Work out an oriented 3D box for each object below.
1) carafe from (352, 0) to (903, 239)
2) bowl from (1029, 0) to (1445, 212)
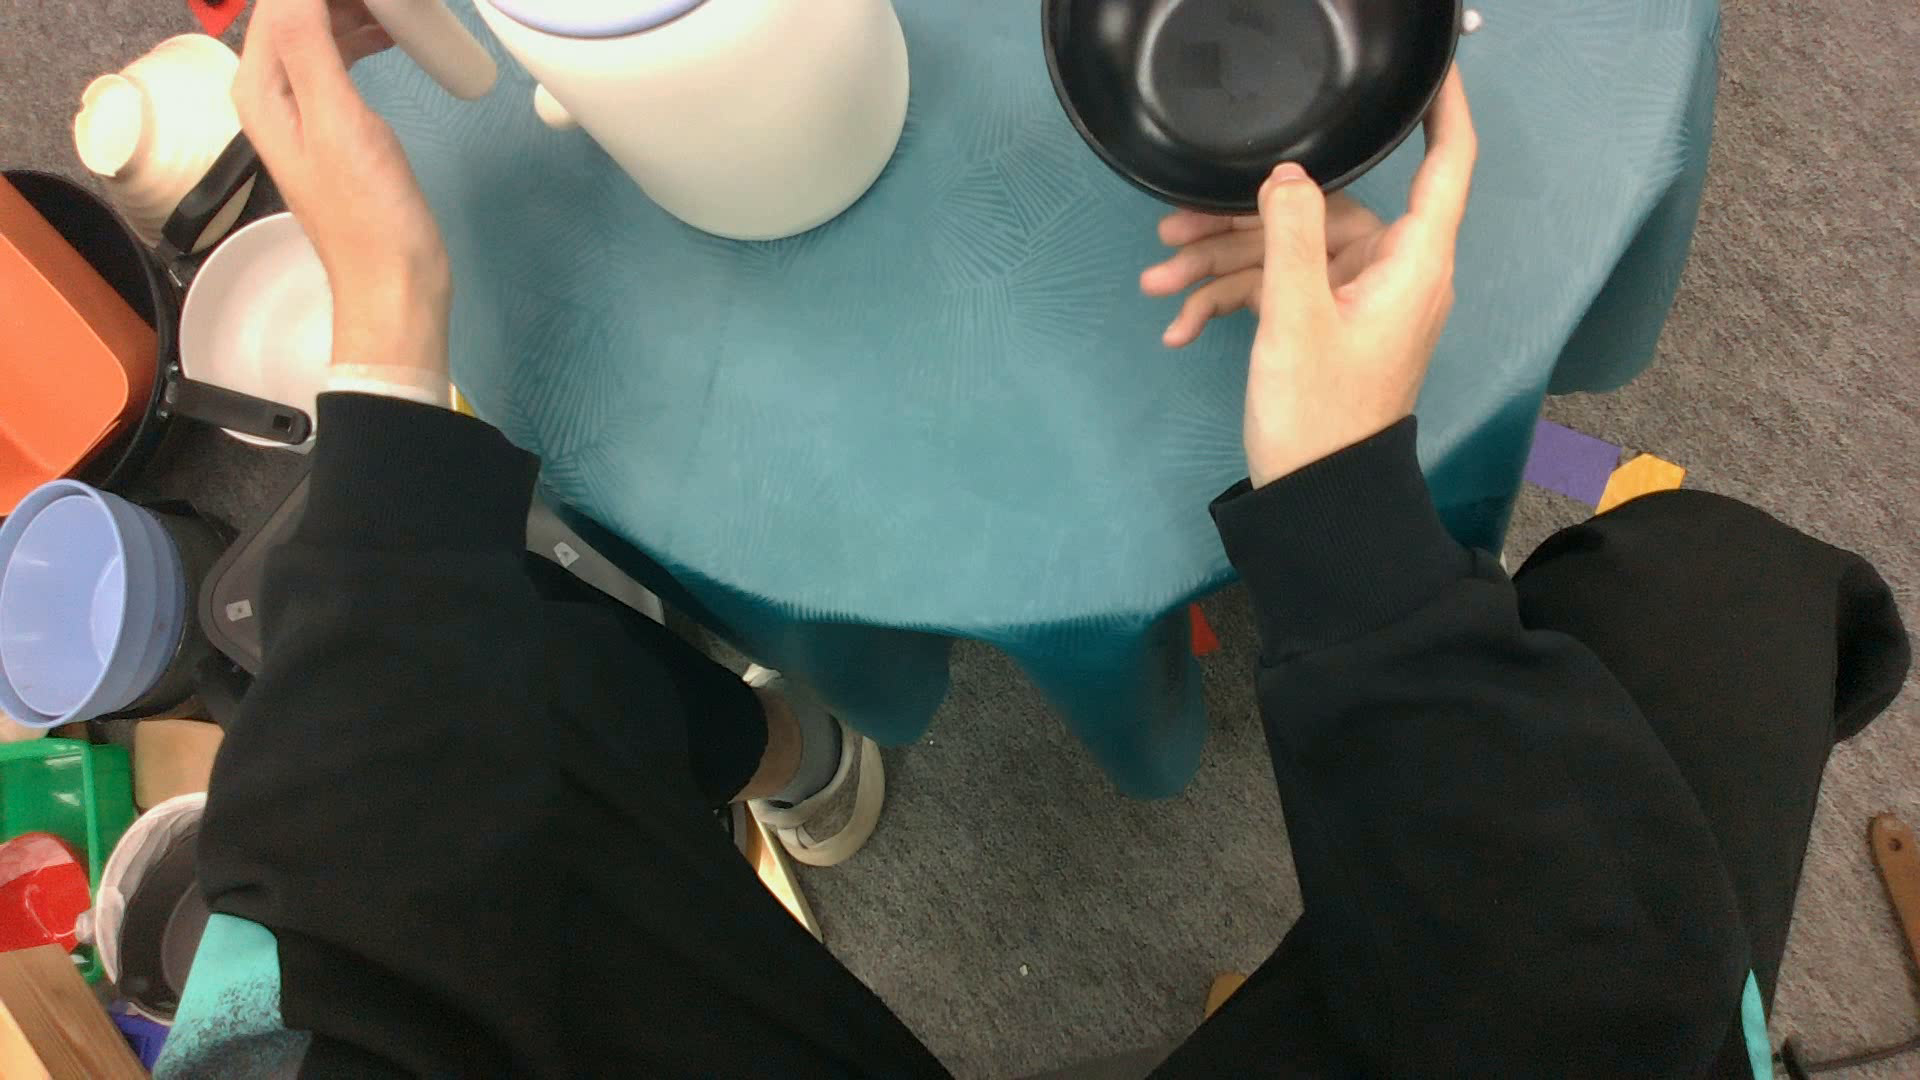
[{"bbox_3d":[-0.125,-0.201,0.526,0.191,0.182,0.132,-8,79,10],"label":"carafe"},{"bbox_3d":[0.096,-0.179,0.488,0.140,0.050,0.140,-1,86,8],"label":"bowl"}]
